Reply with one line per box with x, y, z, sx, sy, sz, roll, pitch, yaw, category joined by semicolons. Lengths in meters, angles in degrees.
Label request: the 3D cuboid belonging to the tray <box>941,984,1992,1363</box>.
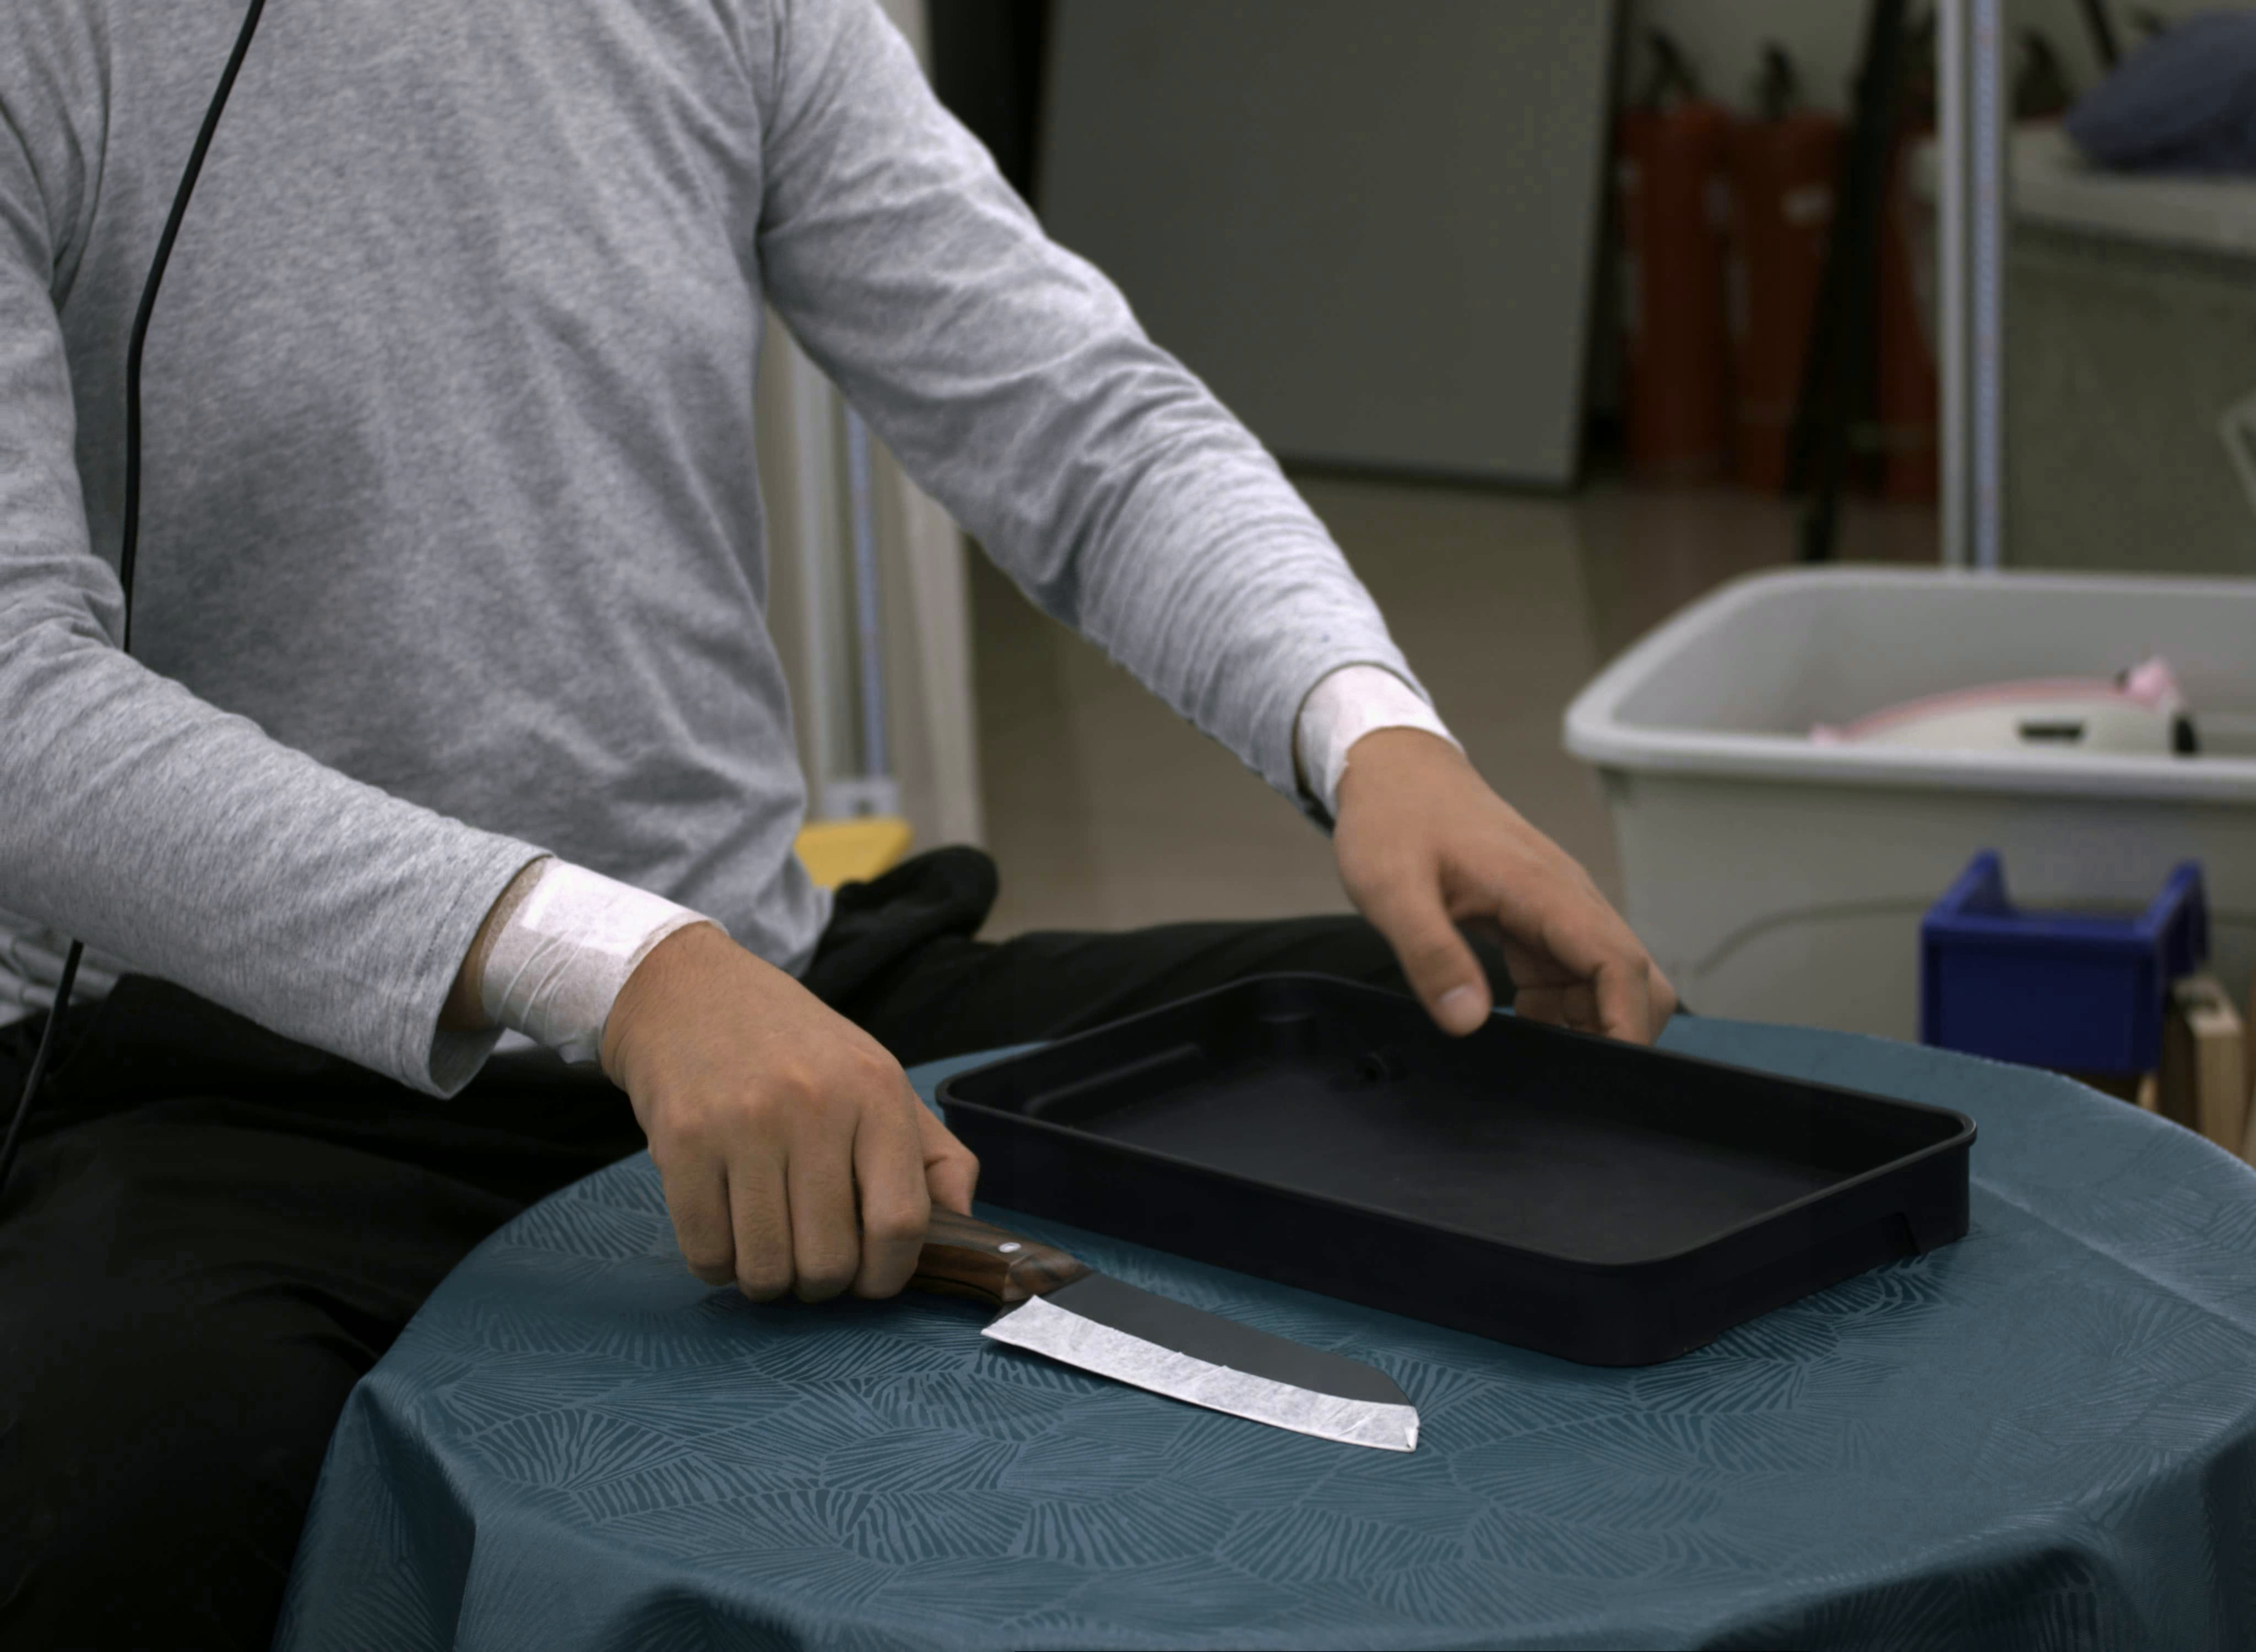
0.105;0.107;1.729;0.321;0.037;0.180;8;18;45;tray

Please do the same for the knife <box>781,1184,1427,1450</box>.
-0.011;0.149;1.630;0.049;0.020;0.292;-28;27;-34;knife
